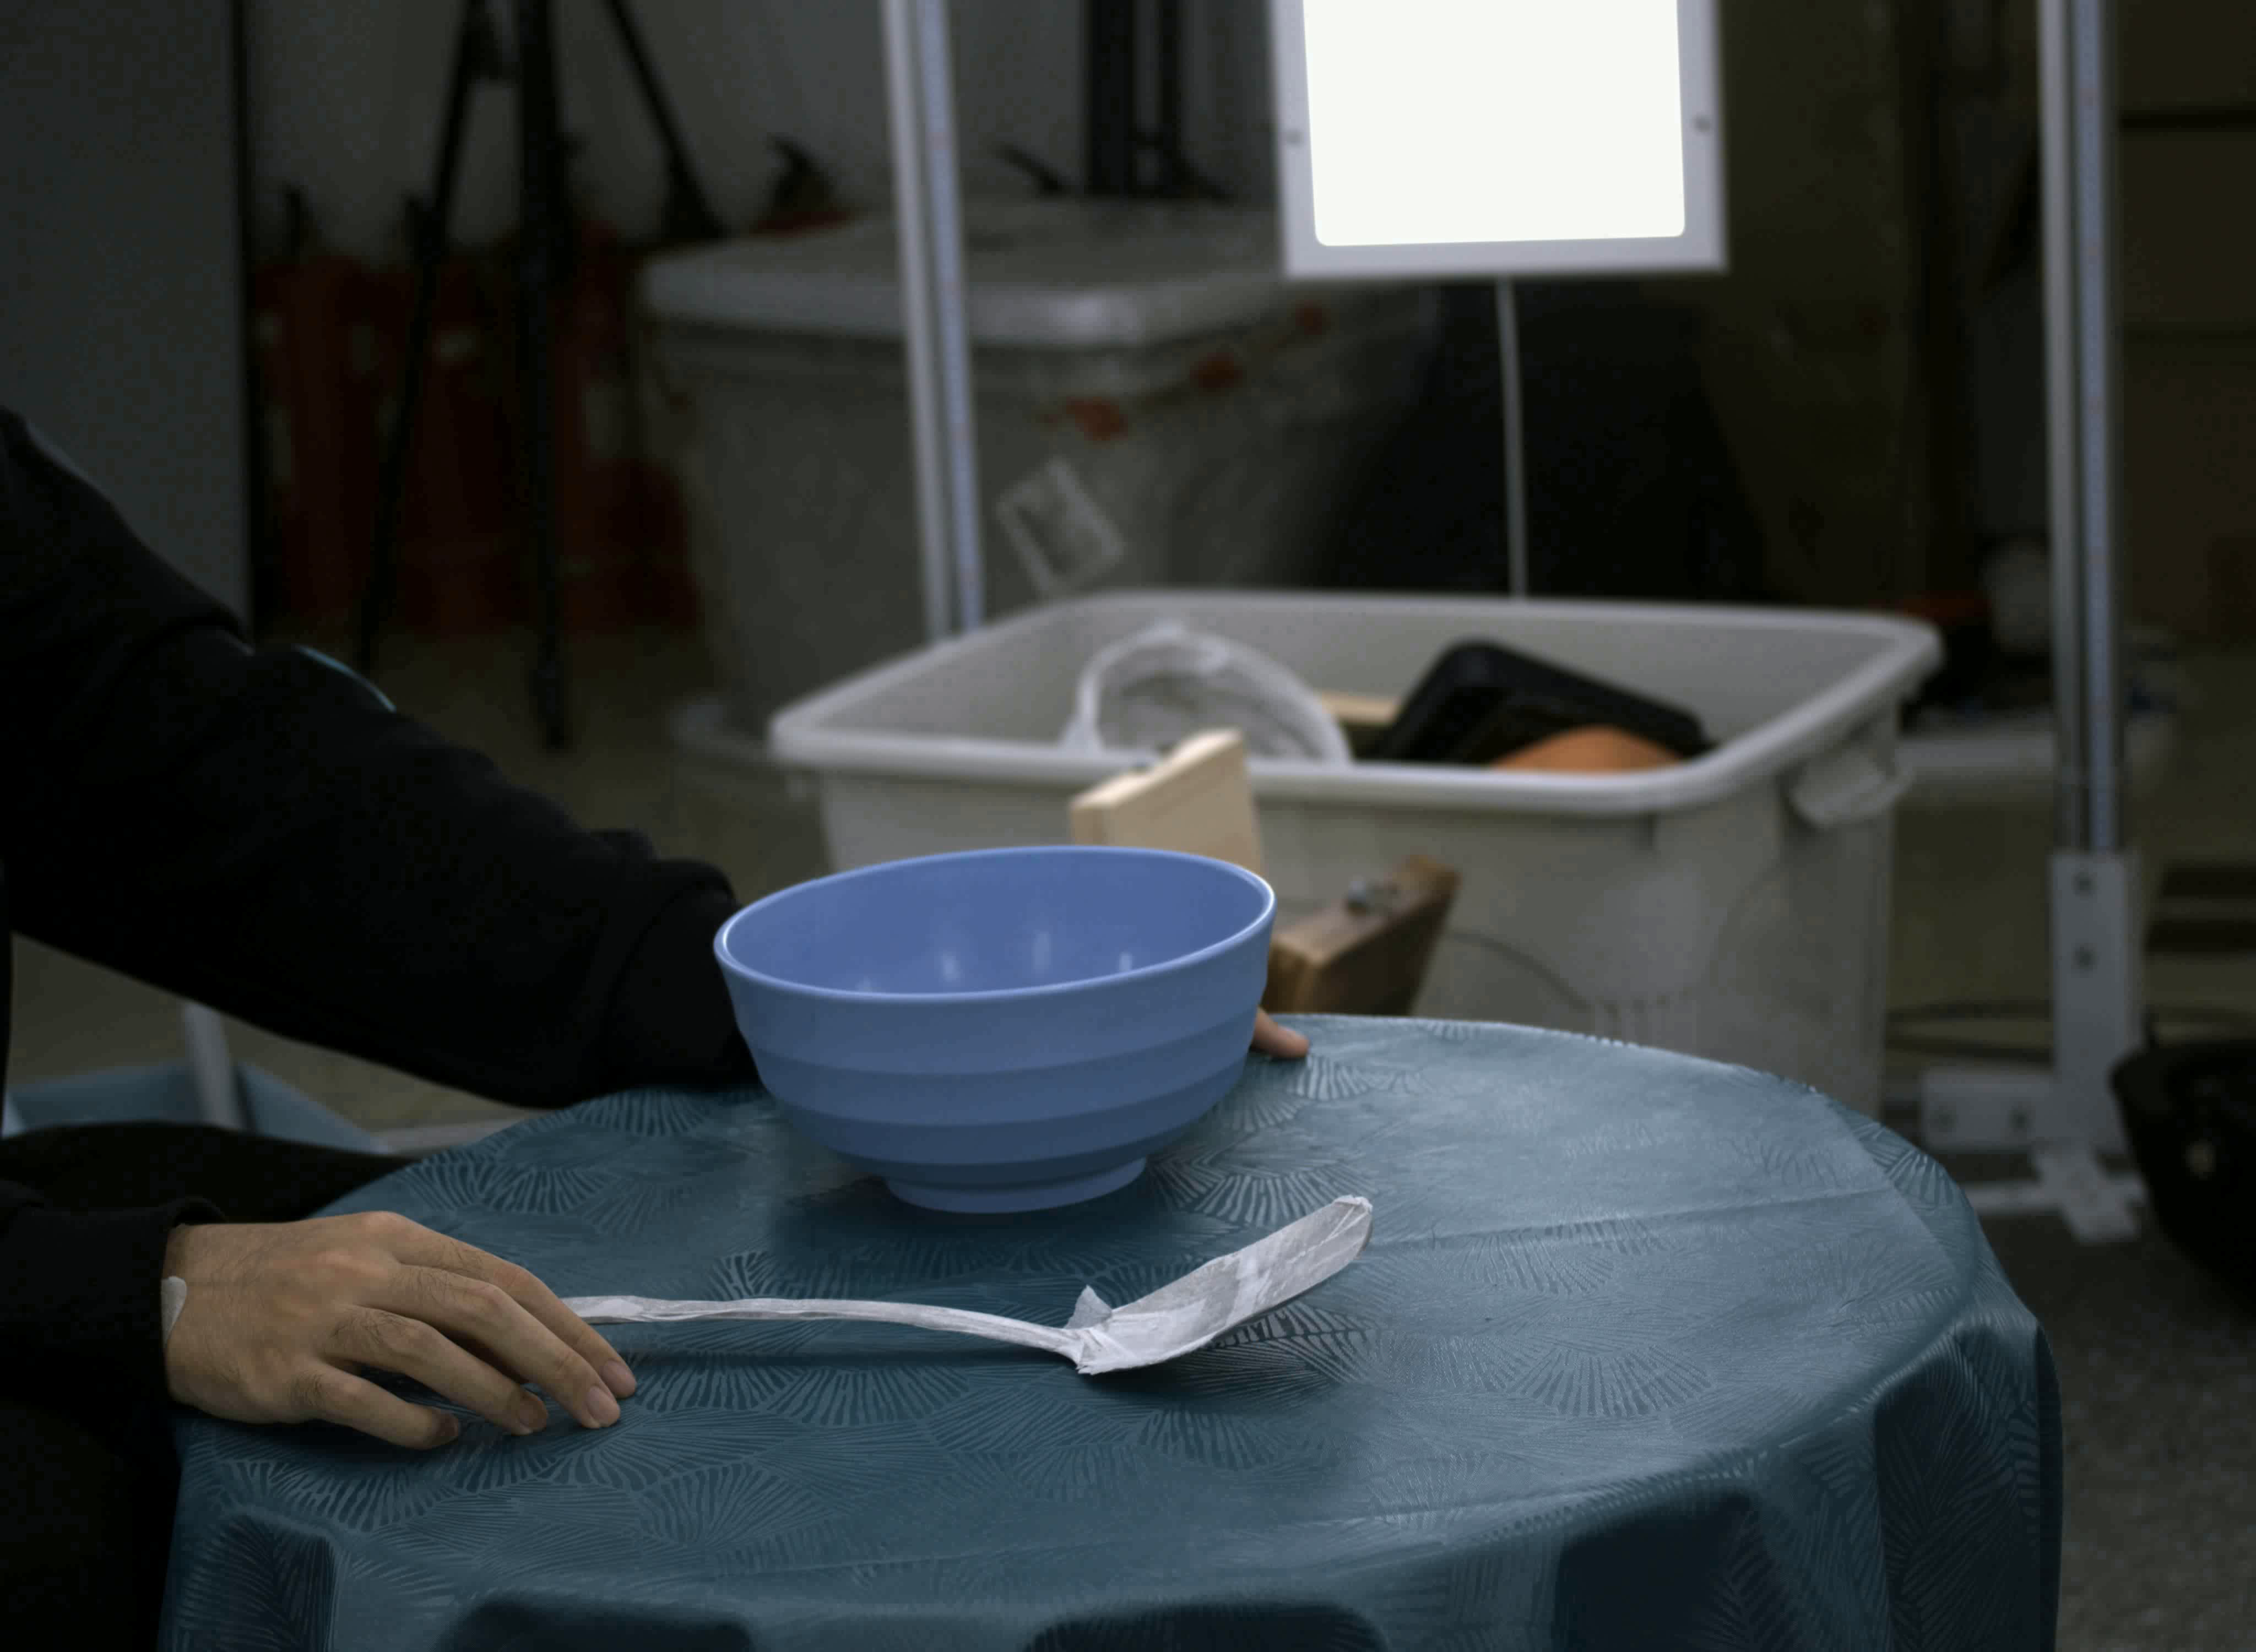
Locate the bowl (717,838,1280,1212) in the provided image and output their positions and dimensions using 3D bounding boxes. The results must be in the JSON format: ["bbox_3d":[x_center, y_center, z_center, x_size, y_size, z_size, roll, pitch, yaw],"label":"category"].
[{"bbox_3d":[-0.043,0.075,1.920,0.196,0.096,0.196,-4,15,0],"label":"bowl"}]

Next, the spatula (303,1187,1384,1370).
[{"bbox_3d":[-0.098,0.149,1.759,0.368,0.045,0.097,-1,16,15],"label":"spatula"}]
